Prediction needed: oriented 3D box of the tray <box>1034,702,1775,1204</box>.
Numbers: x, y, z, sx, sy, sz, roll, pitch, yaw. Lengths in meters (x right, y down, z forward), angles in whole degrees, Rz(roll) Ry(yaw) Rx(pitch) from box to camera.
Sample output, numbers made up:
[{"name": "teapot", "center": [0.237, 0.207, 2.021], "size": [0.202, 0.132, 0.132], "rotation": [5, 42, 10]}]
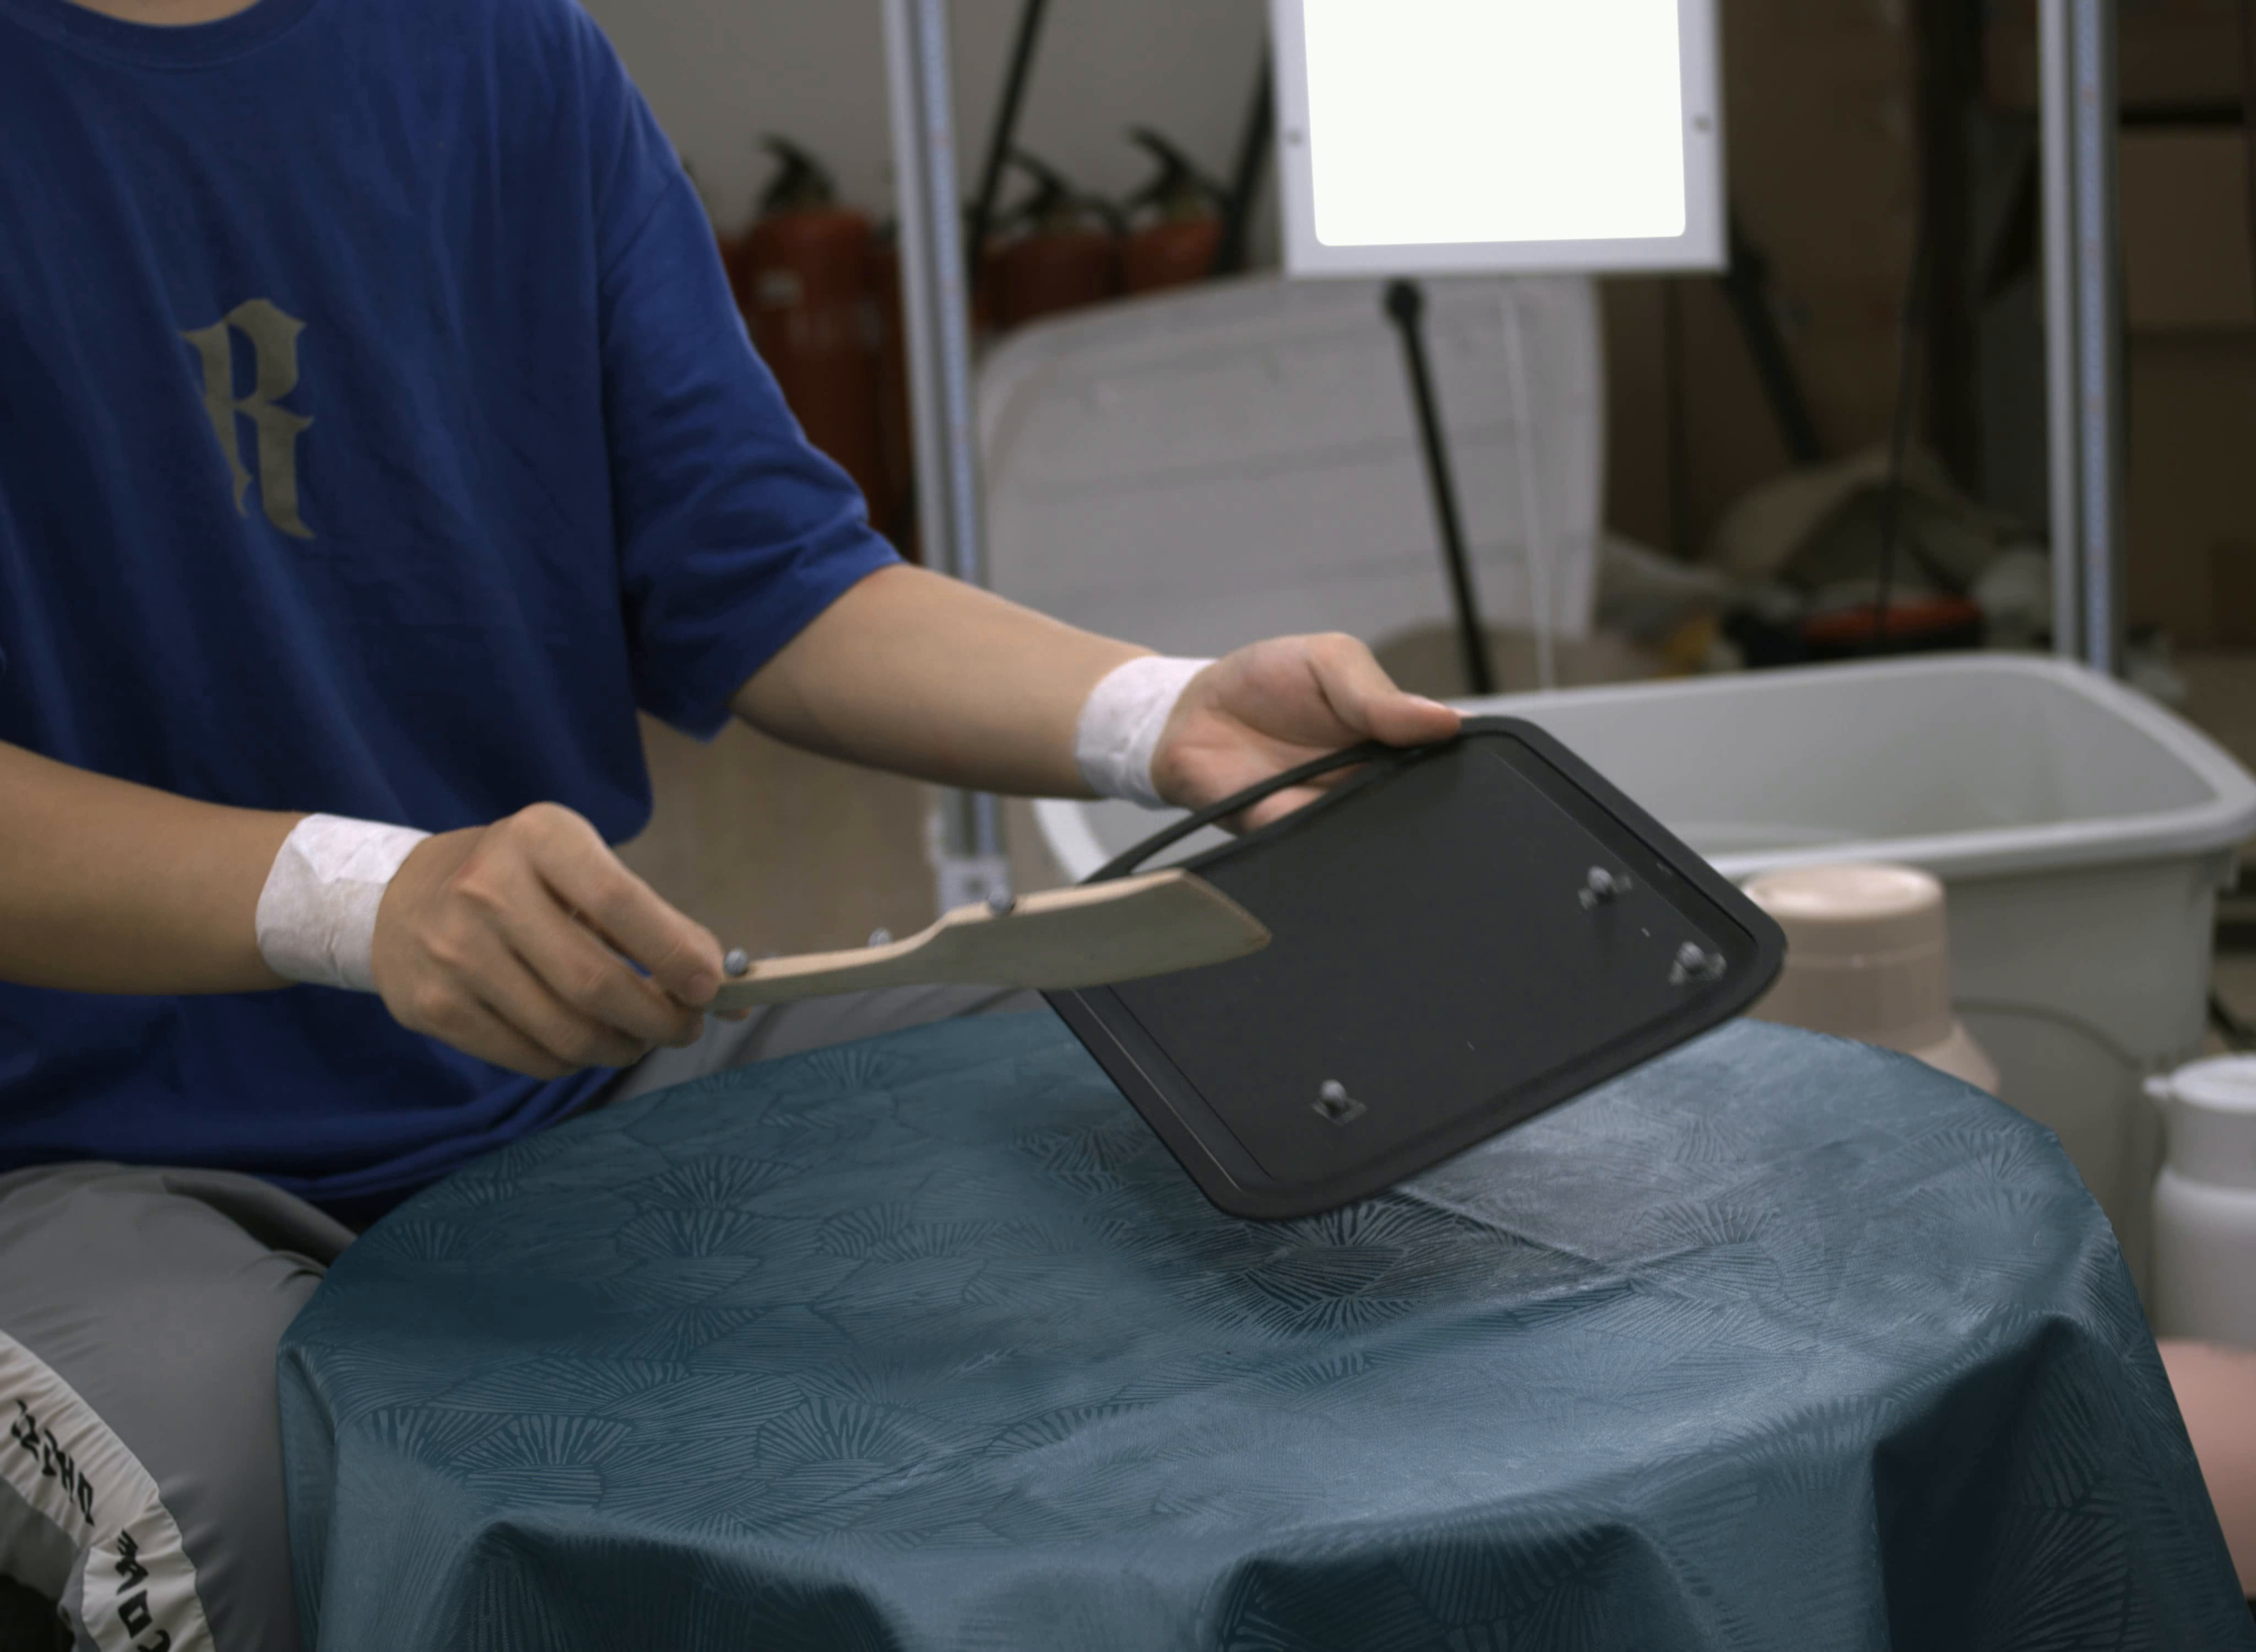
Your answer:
[{"name": "tray", "center": [0.082, 0.035, 1.892], "size": [0.210, 0.010, 0.328], "rotation": [-26, 24, -6]}]

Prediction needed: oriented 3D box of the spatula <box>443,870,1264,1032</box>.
[{"name": "spatula", "center": [-0.099, 0.046, 1.801], "size": [0.298, 0.010, 0.071], "rotation": [-8, -24, 28]}]
